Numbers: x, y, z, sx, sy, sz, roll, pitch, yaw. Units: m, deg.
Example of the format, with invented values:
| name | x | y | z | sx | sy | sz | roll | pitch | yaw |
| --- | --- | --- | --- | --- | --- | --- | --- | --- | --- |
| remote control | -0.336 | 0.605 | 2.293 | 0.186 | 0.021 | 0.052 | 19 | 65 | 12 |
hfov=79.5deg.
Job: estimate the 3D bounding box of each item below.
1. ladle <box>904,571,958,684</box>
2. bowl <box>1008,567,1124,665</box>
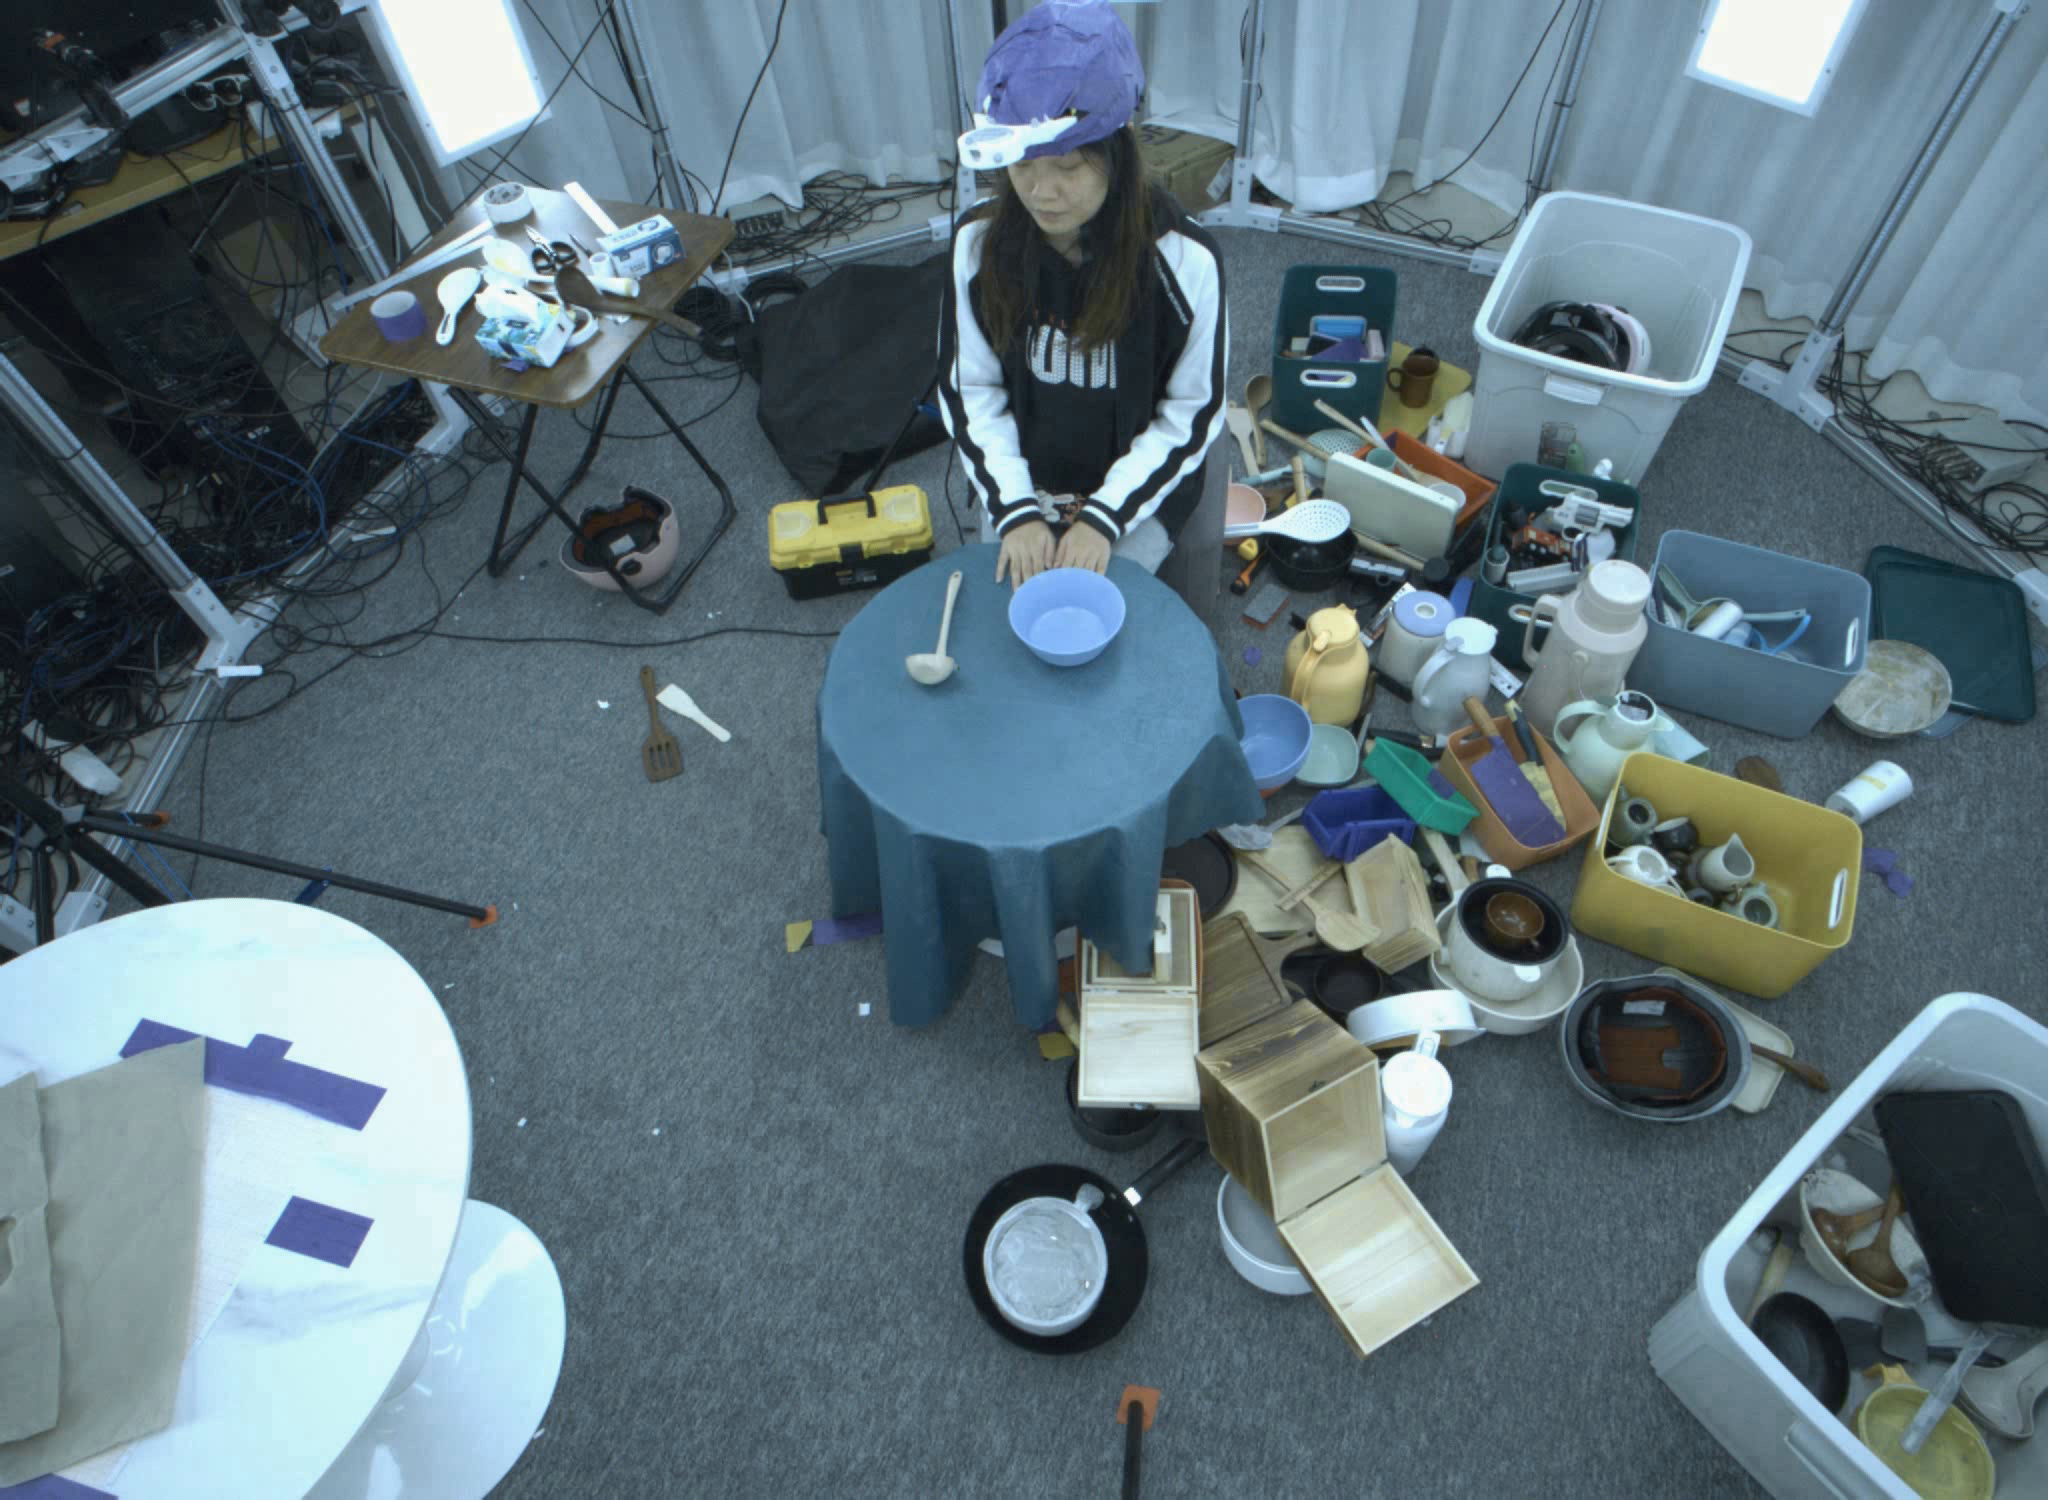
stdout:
| name | x | y | z | sx | sy | sz | roll | pitch | yaw |
| --- | --- | --- | --- | --- | --- | --- | --- | --- | --- |
| ladle | -0.135 | -0.211 | 1.897 | 0.071 | 0.074 | 0.252 | -5 | 53 | 15 |
| bowl | 0.064 | -0.195 | 1.881 | 0.176 | 0.071 | 0.174 | 0 | 55 | 1 |
